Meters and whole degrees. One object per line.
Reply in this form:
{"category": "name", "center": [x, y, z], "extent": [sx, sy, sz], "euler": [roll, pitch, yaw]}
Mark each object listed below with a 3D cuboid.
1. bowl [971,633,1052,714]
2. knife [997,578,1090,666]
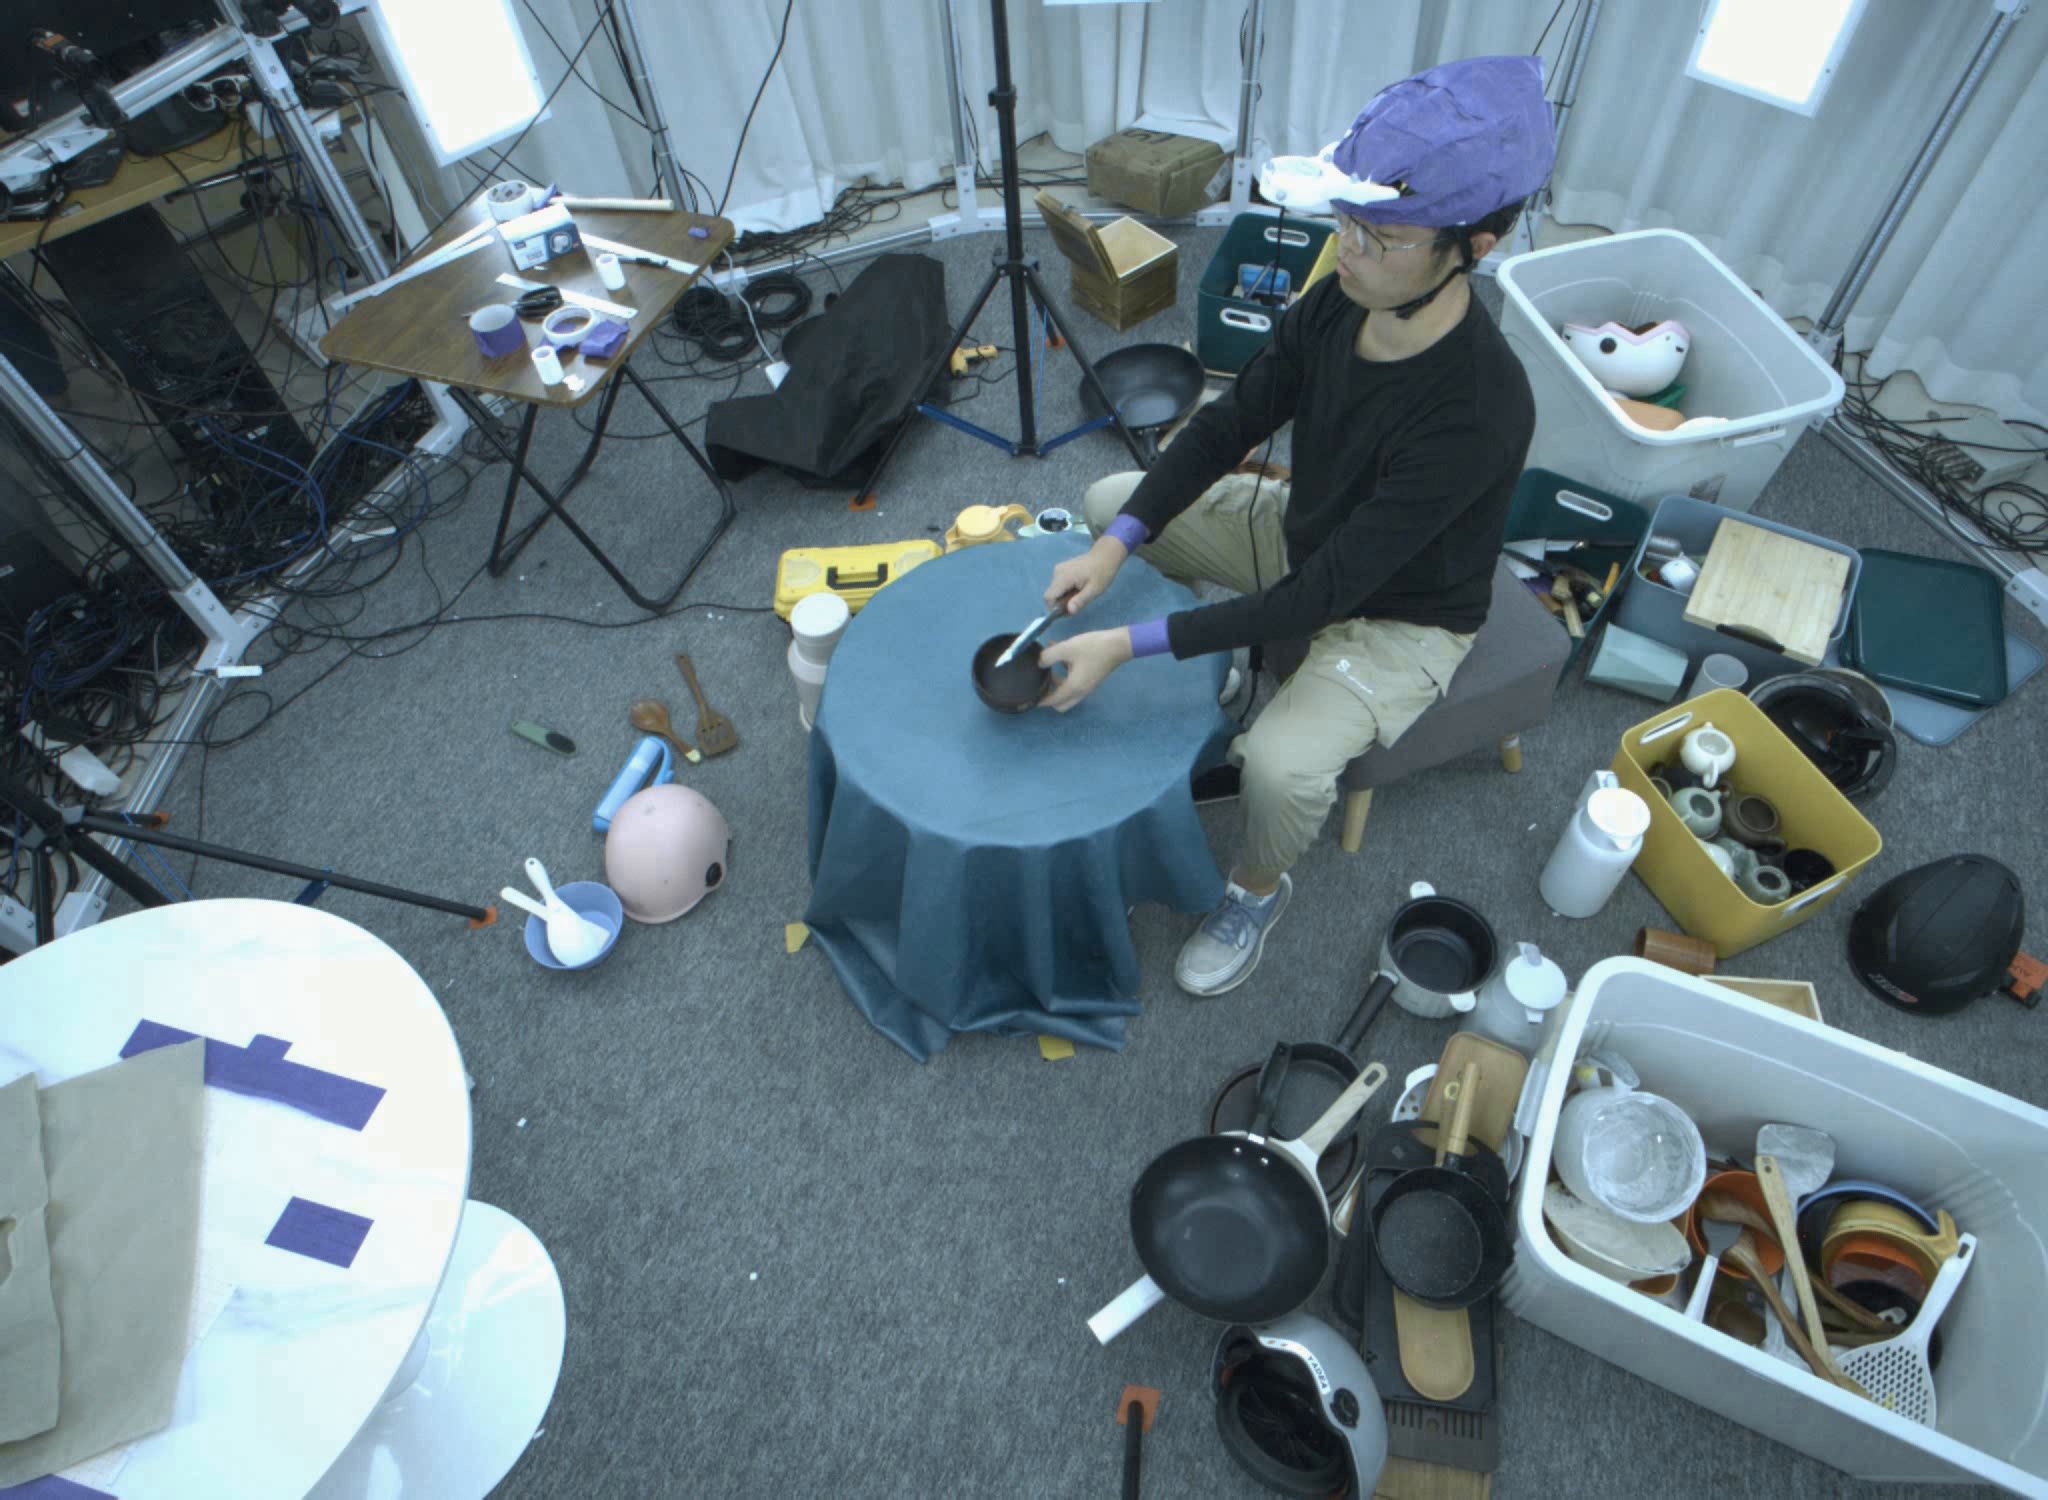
{"category": "bowl", "center": [-0.018, -0.104, 1.782], "extent": [0.118, 0.070, 0.117], "euler": [1, 64, -1]}
{"category": "knife", "center": [0.030, -0.186, 1.784], "extent": [0.049, 0.020, 0.291], "euler": [-12, 23, 35]}
